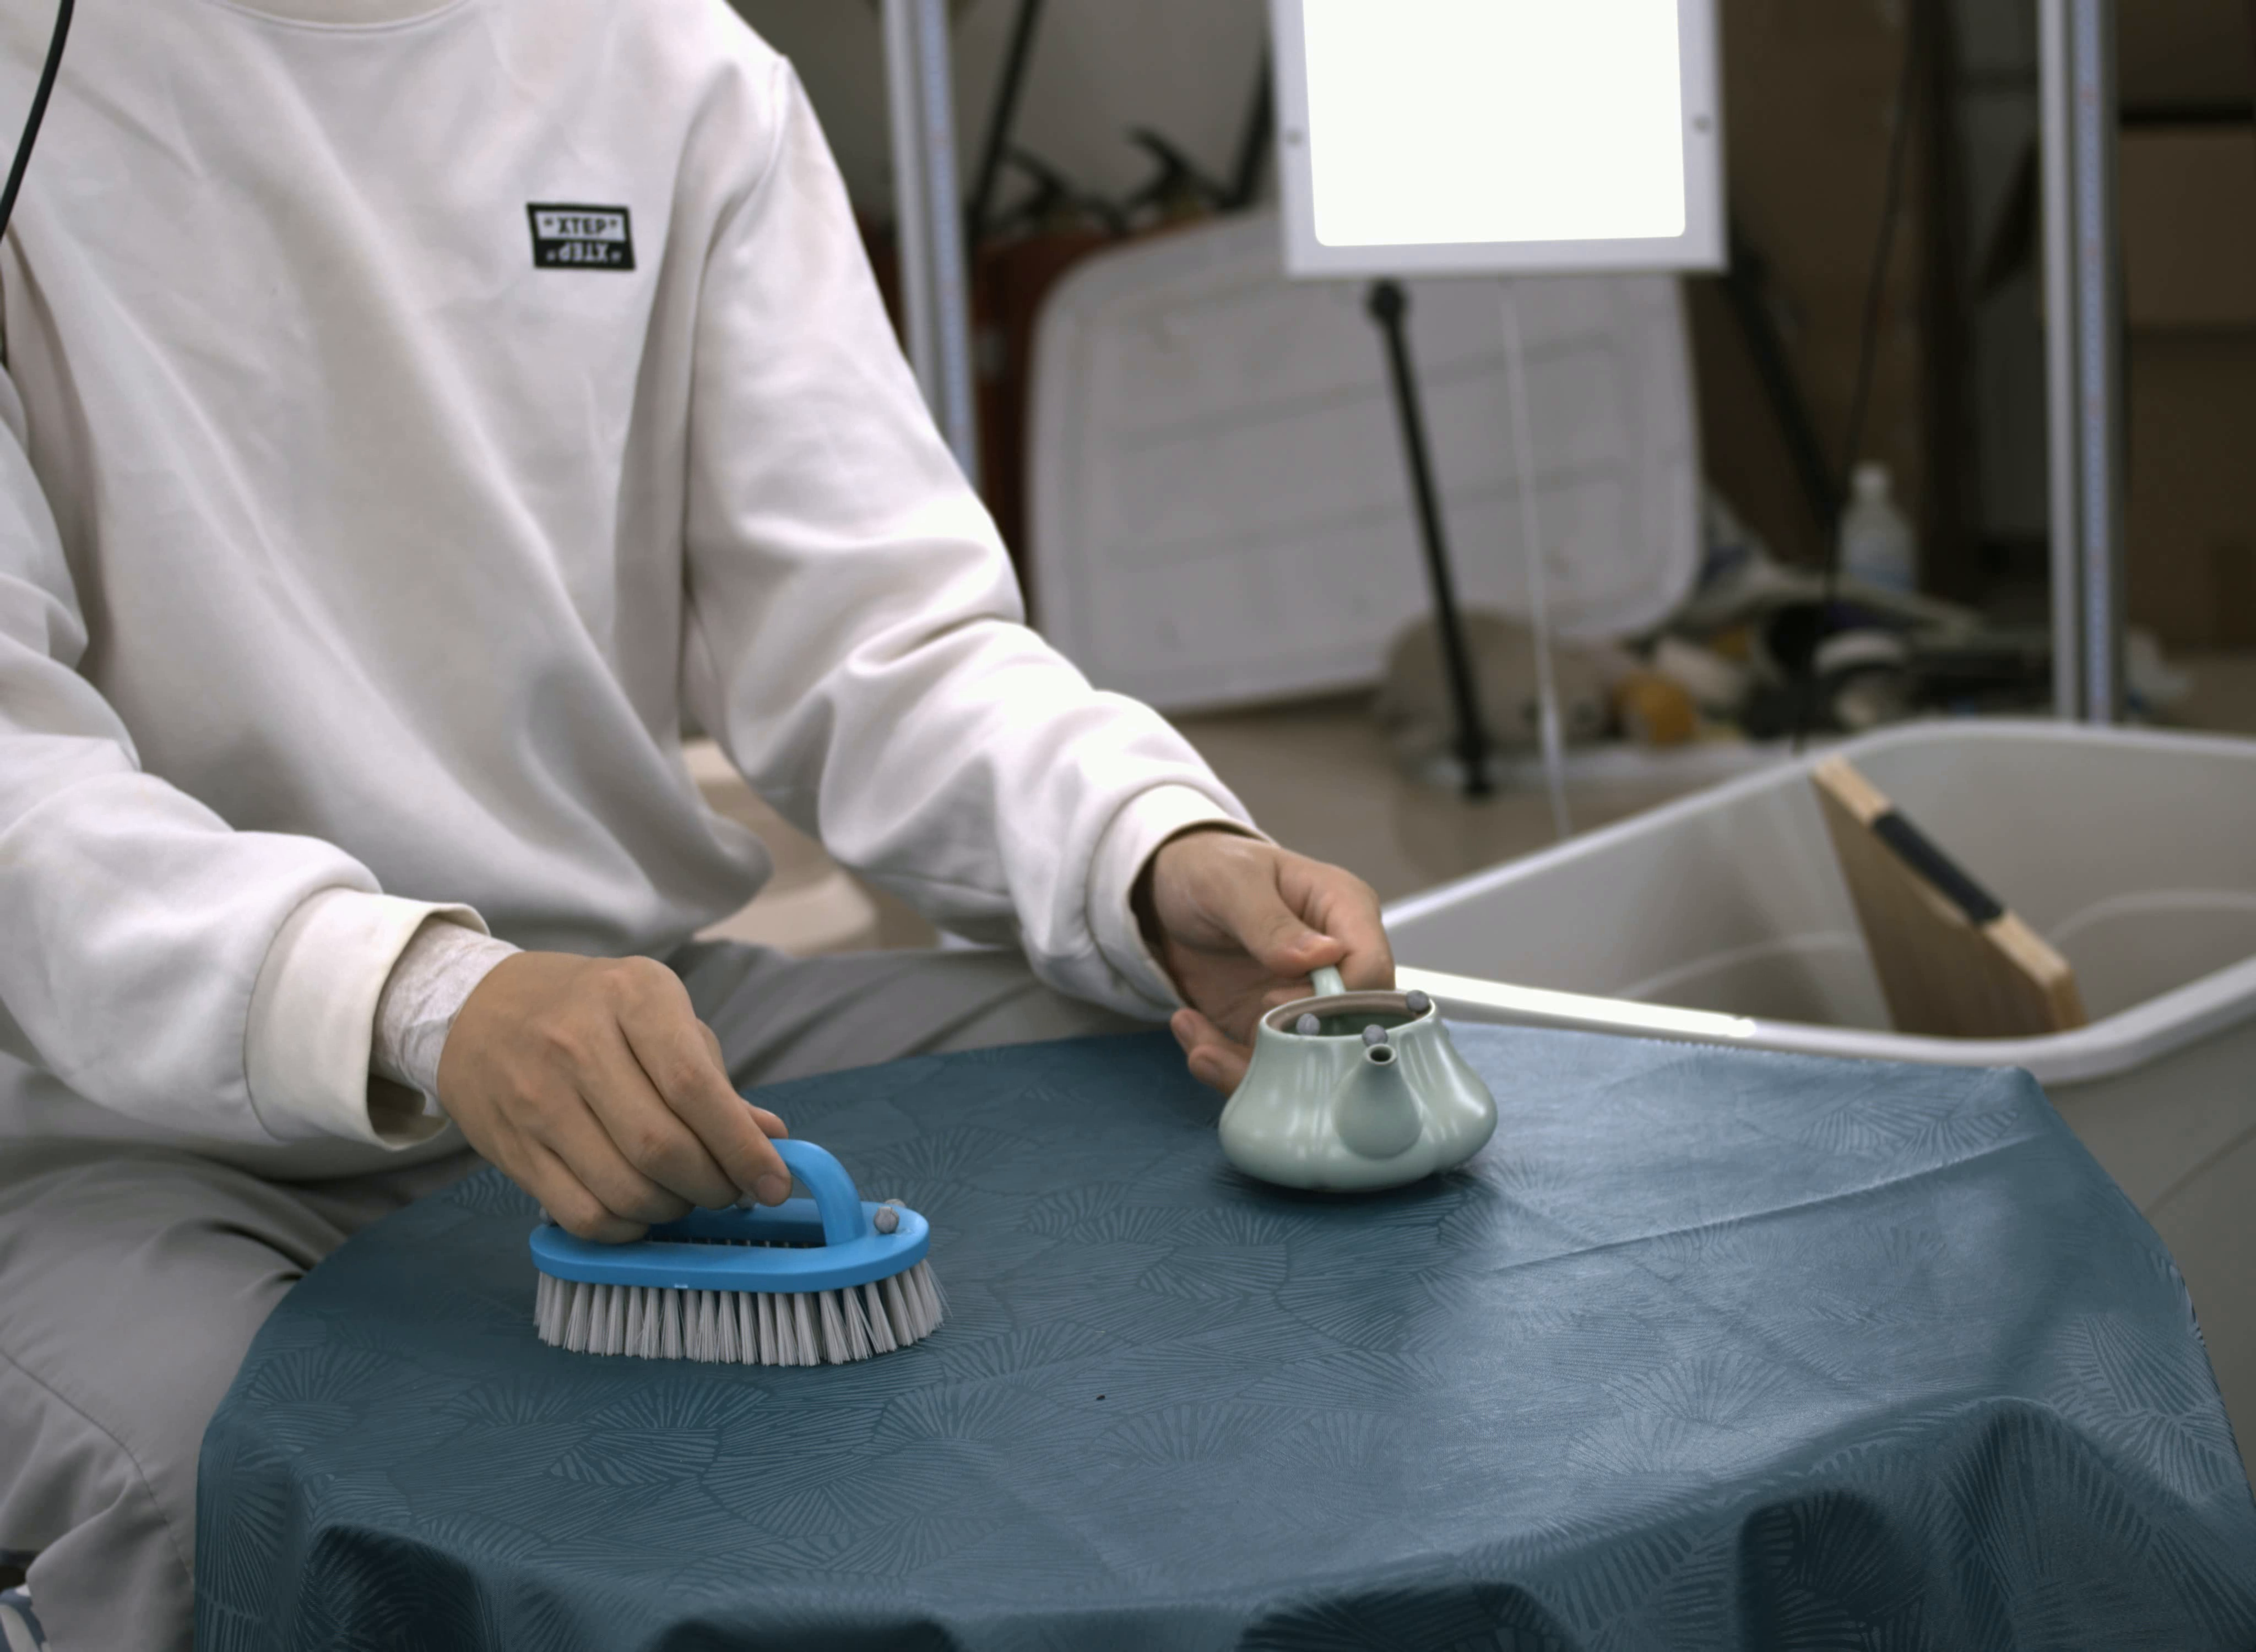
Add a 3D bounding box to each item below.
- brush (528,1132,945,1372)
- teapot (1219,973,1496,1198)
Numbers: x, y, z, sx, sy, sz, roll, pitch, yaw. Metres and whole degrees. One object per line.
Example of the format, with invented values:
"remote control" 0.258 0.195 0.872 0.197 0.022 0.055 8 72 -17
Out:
"brush" -0.131 0.131 1.791 0.144 0.064 0.082 0 20 26
"teapot" 0.077 0.090 1.894 0.095 0.061 0.137 -12 12 -7
